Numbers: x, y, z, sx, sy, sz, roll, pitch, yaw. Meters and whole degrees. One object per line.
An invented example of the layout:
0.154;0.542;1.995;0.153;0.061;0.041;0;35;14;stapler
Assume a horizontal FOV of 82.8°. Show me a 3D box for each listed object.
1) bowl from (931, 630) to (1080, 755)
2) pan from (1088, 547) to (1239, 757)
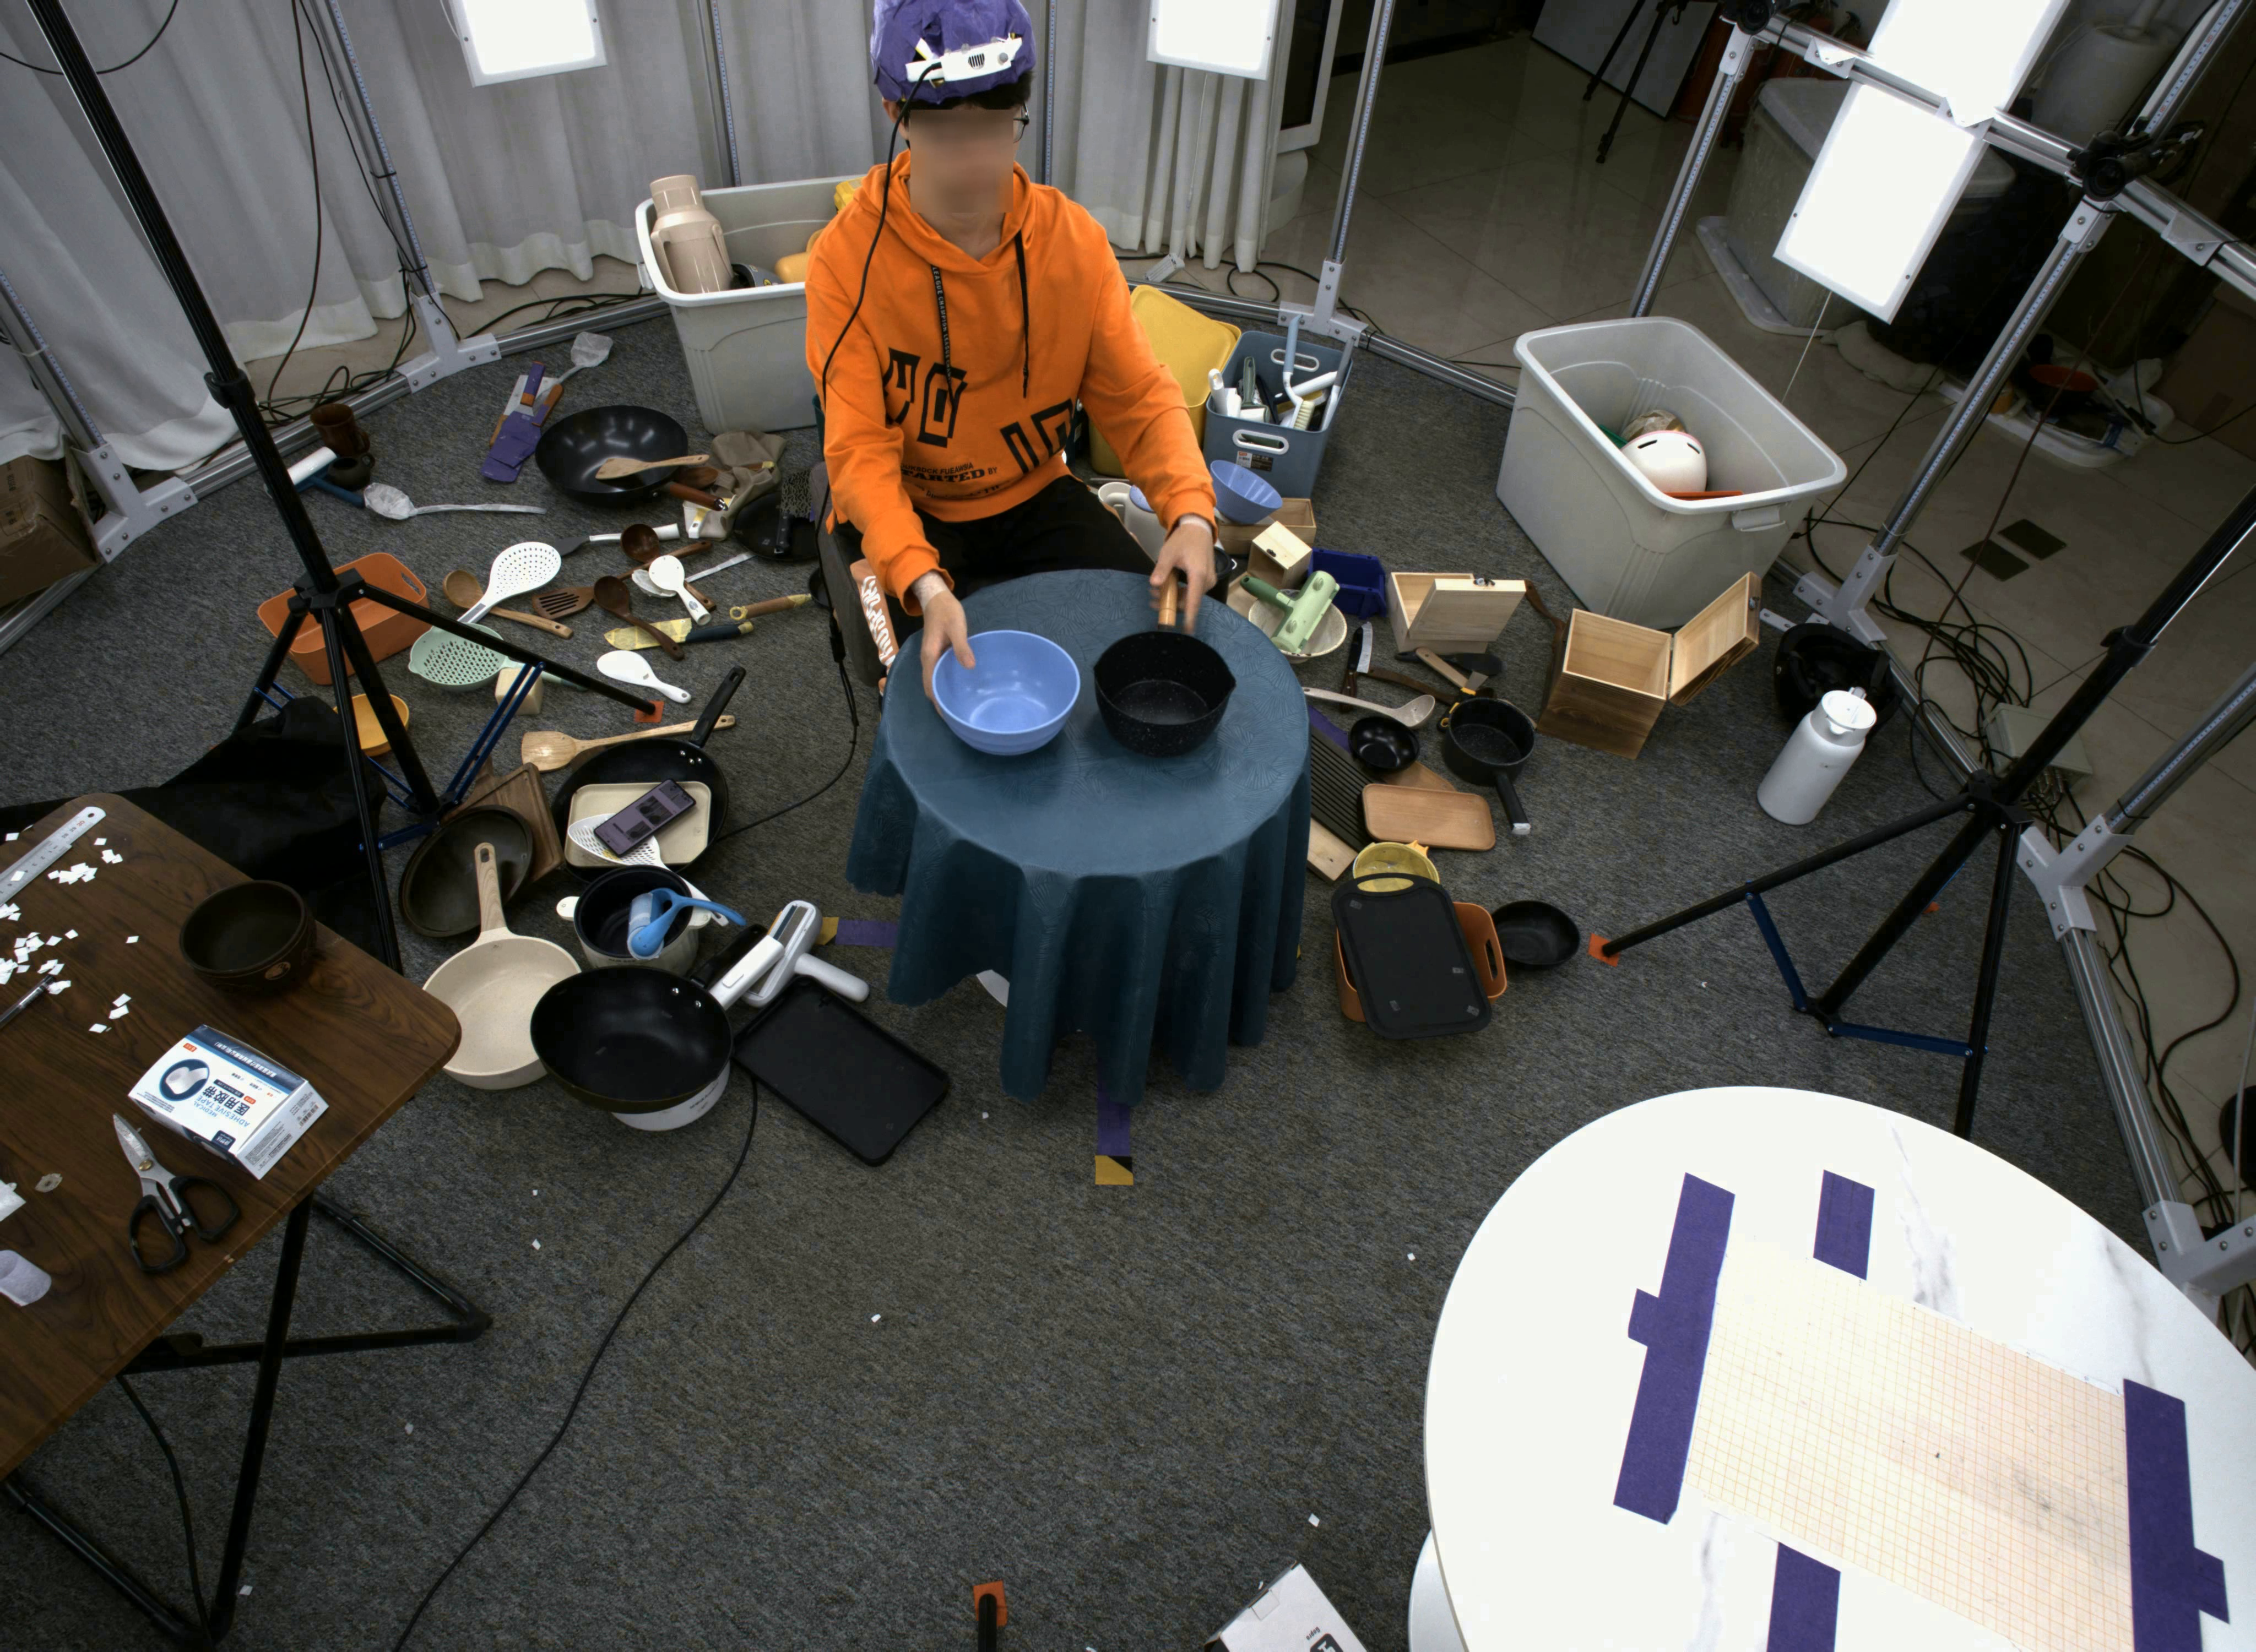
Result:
-0.165;-0.166;1.740;0.196;0.093;0.201;2;50;-2;bowl
0.050;-0.247;1.817;0.207;0.105;0.351;3;50;1;pan
